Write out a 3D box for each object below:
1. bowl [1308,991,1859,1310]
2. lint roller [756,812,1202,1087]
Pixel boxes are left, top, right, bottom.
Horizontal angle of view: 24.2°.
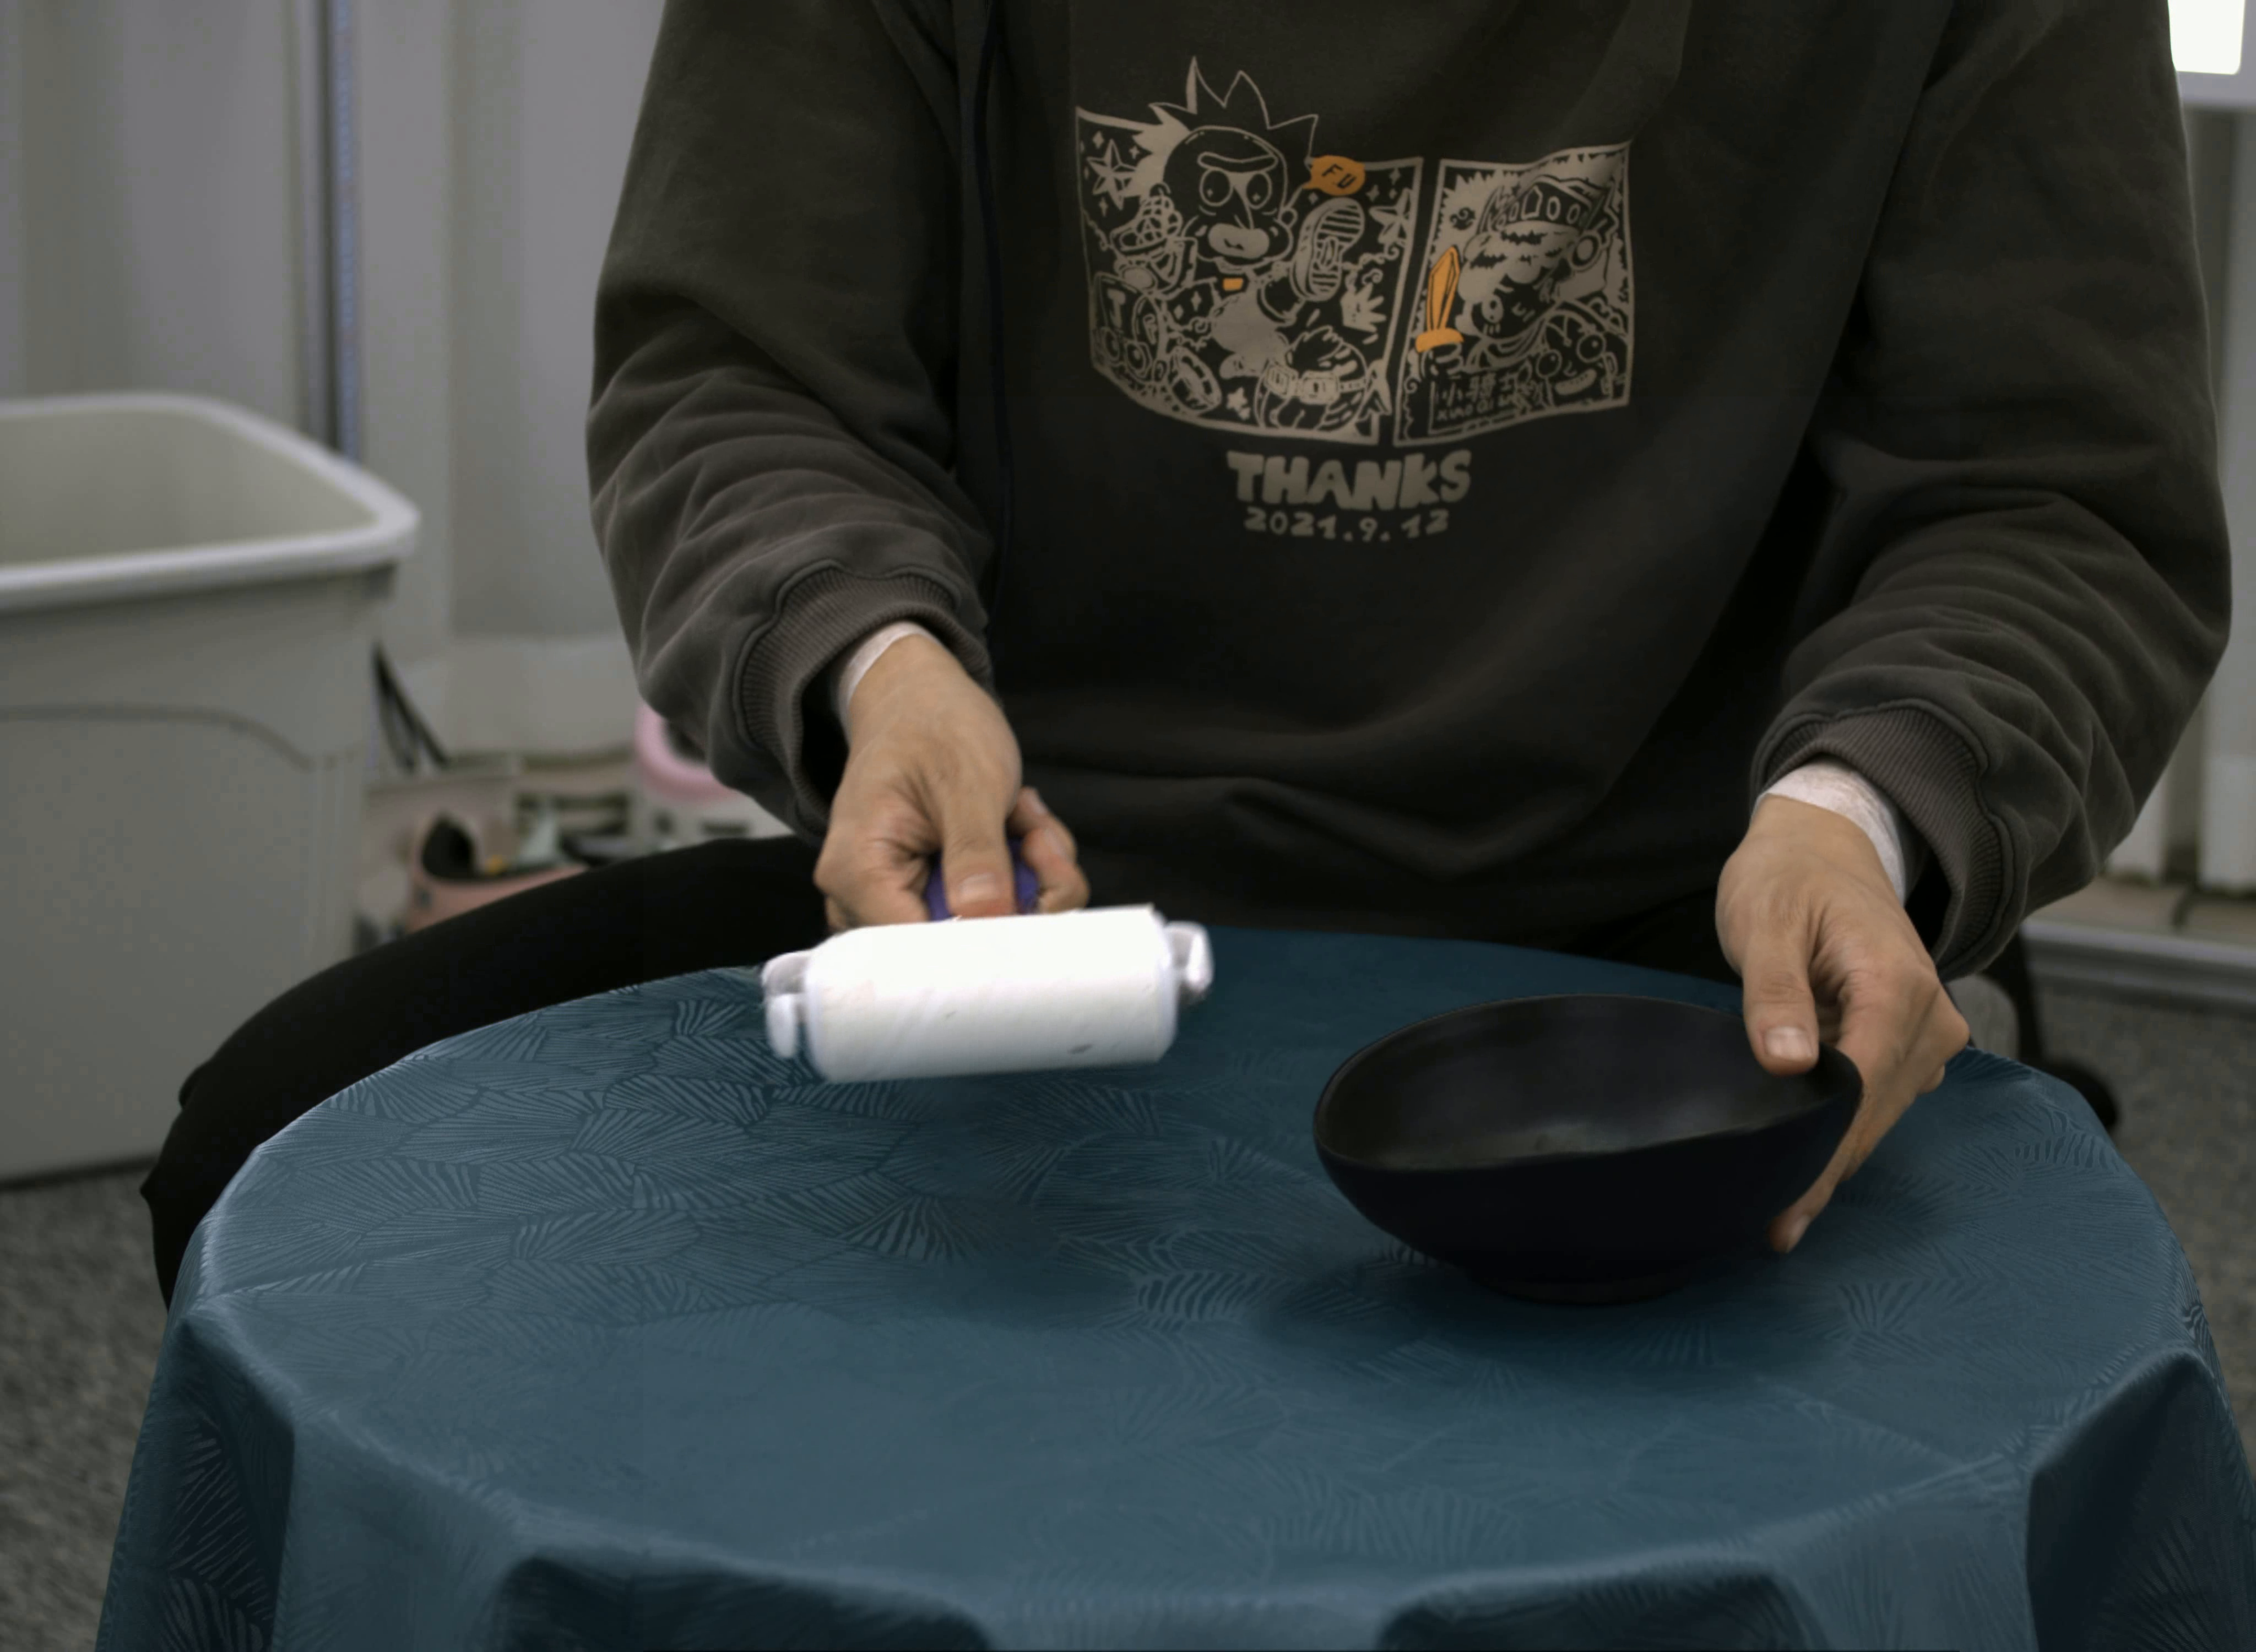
[{"bbox_3d":[0.136,0.102,1.557,0.171,0.067,0.135,-9,17,-27],"label":"bowl"},{"bbox_3d":[-0.045,0.023,1.620,0.132,0.051,0.179,-2,28,-1],"label":"lint roller"}]
